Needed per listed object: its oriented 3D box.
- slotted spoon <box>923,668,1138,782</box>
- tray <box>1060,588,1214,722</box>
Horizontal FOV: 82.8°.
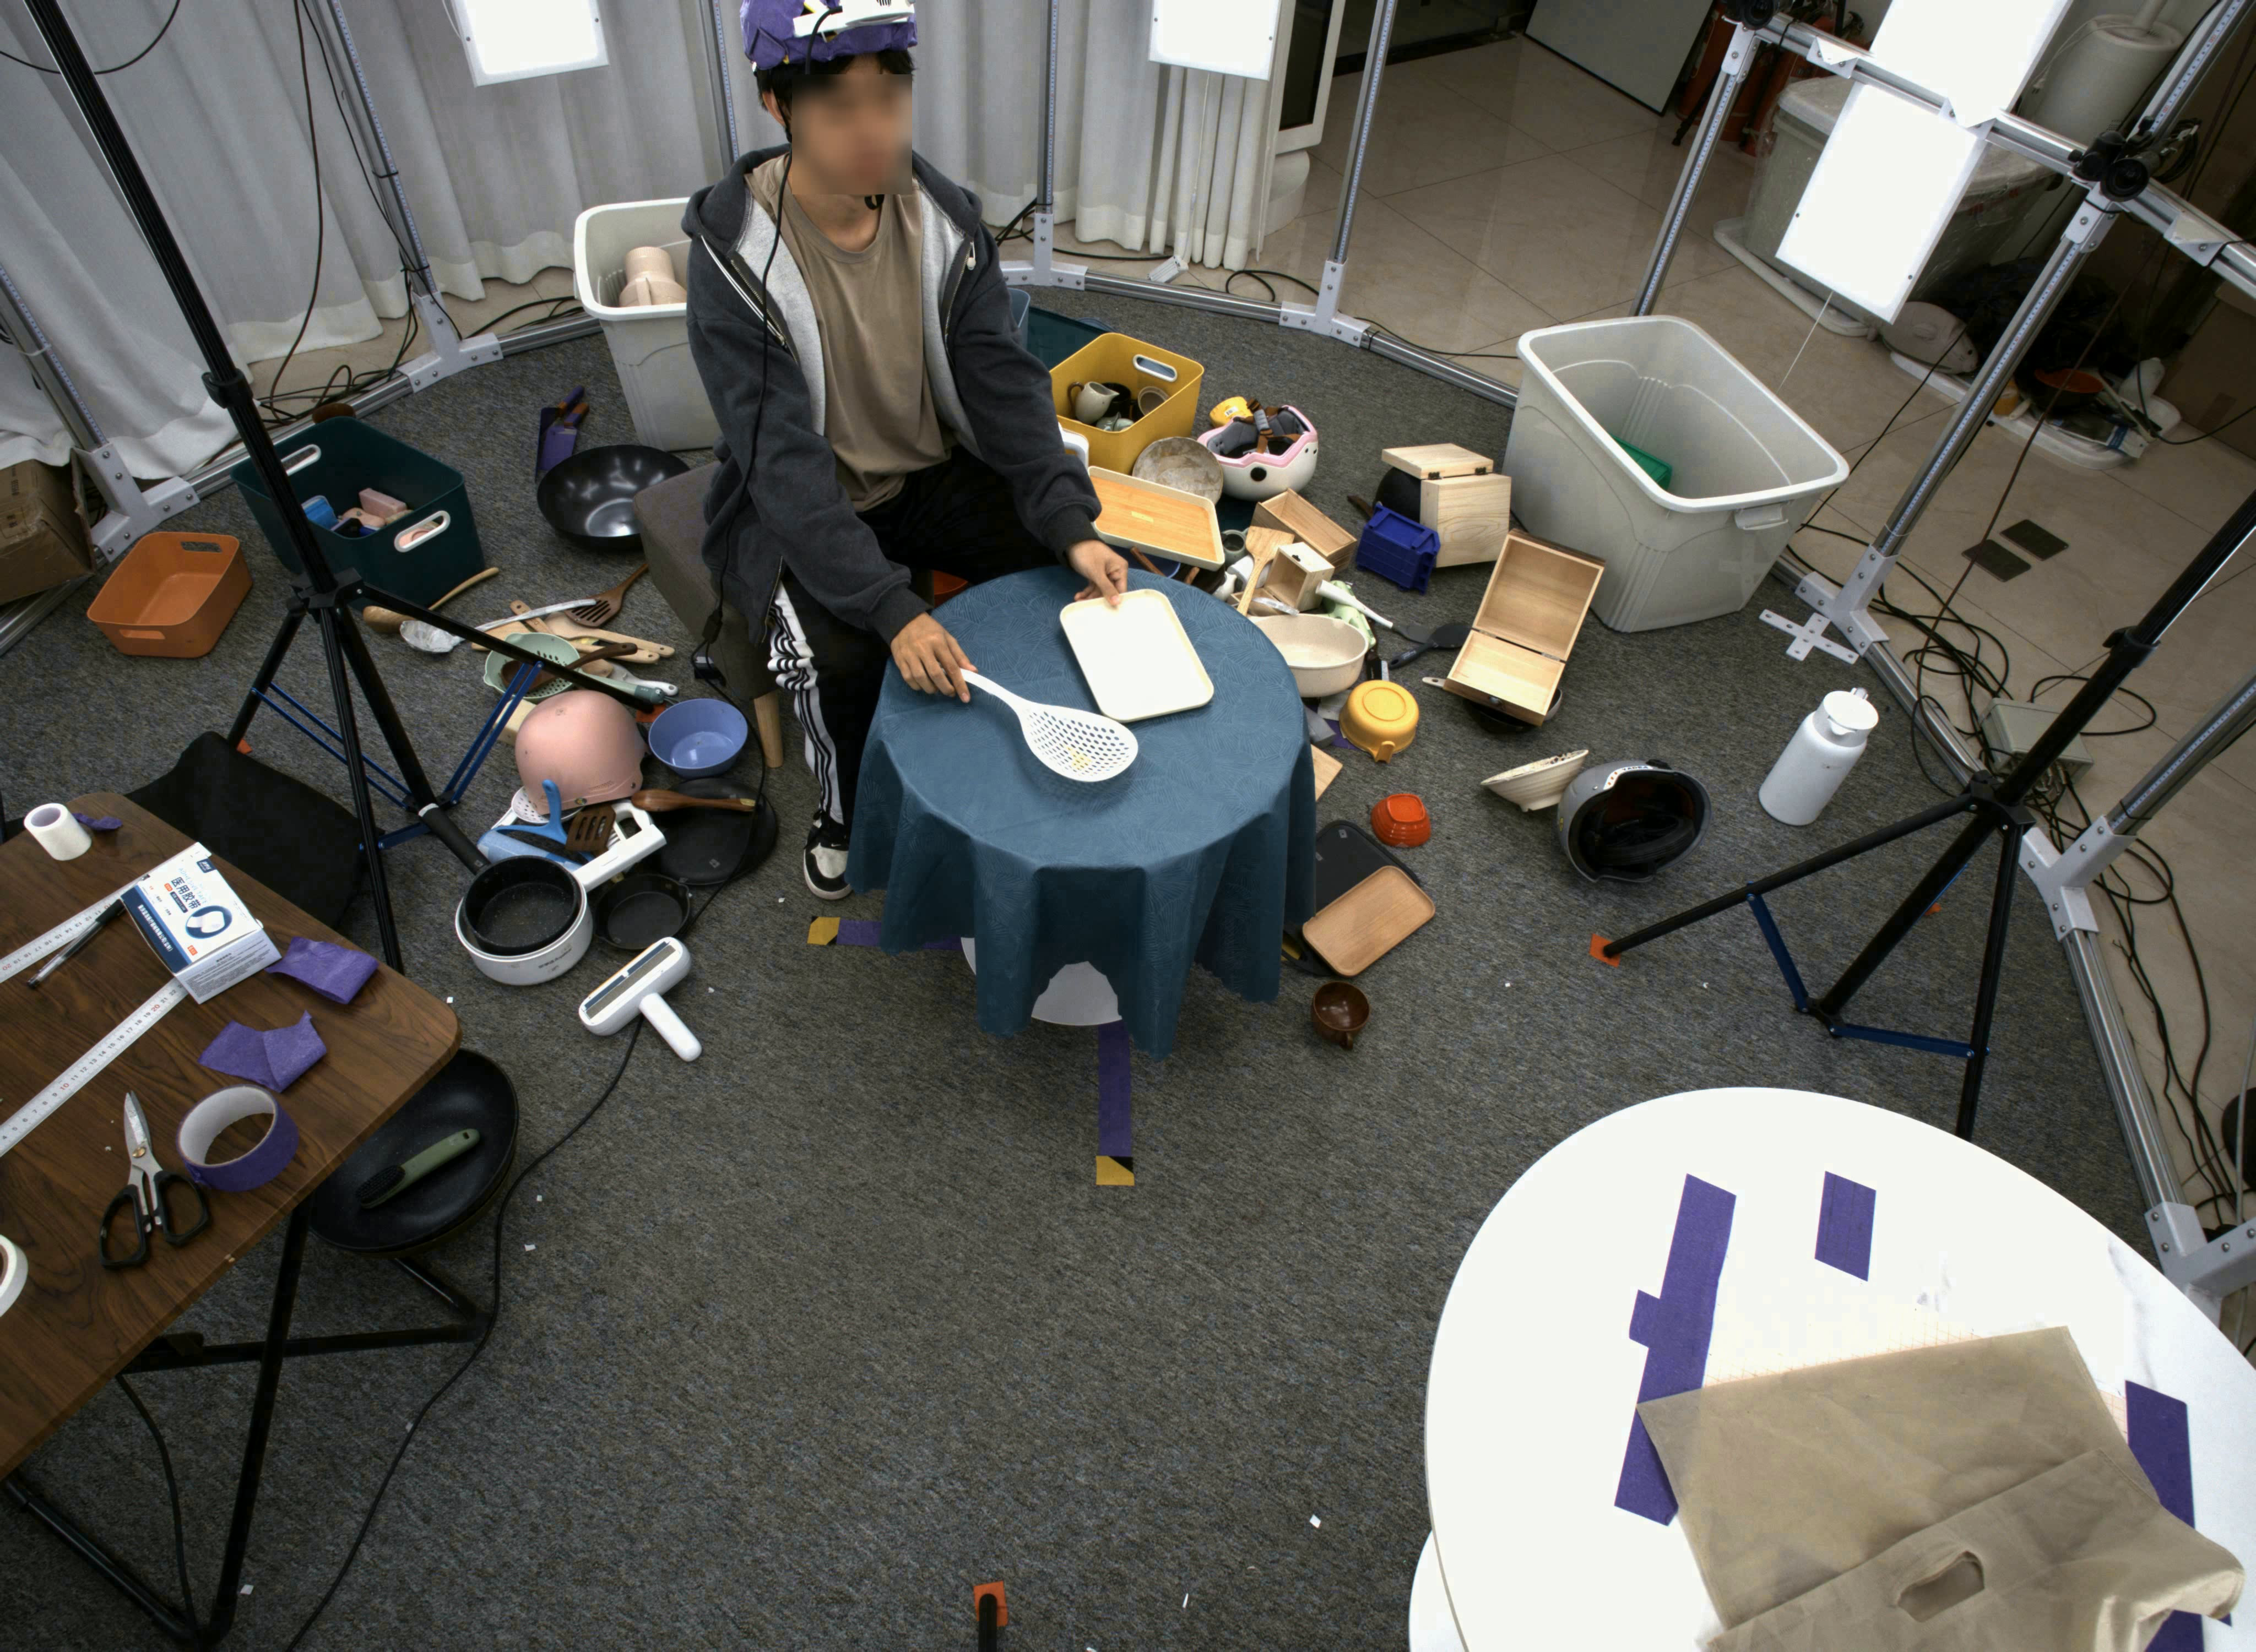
[{"bbox_3d":[-0.144,-0.153,1.759,0.352,0.049,0.138,33,52,21],"label":"slotted spoon"},{"bbox_3d":[0.011,-0.250,1.865,0.171,0.017,0.245,-14,54,-14],"label":"tray"}]
